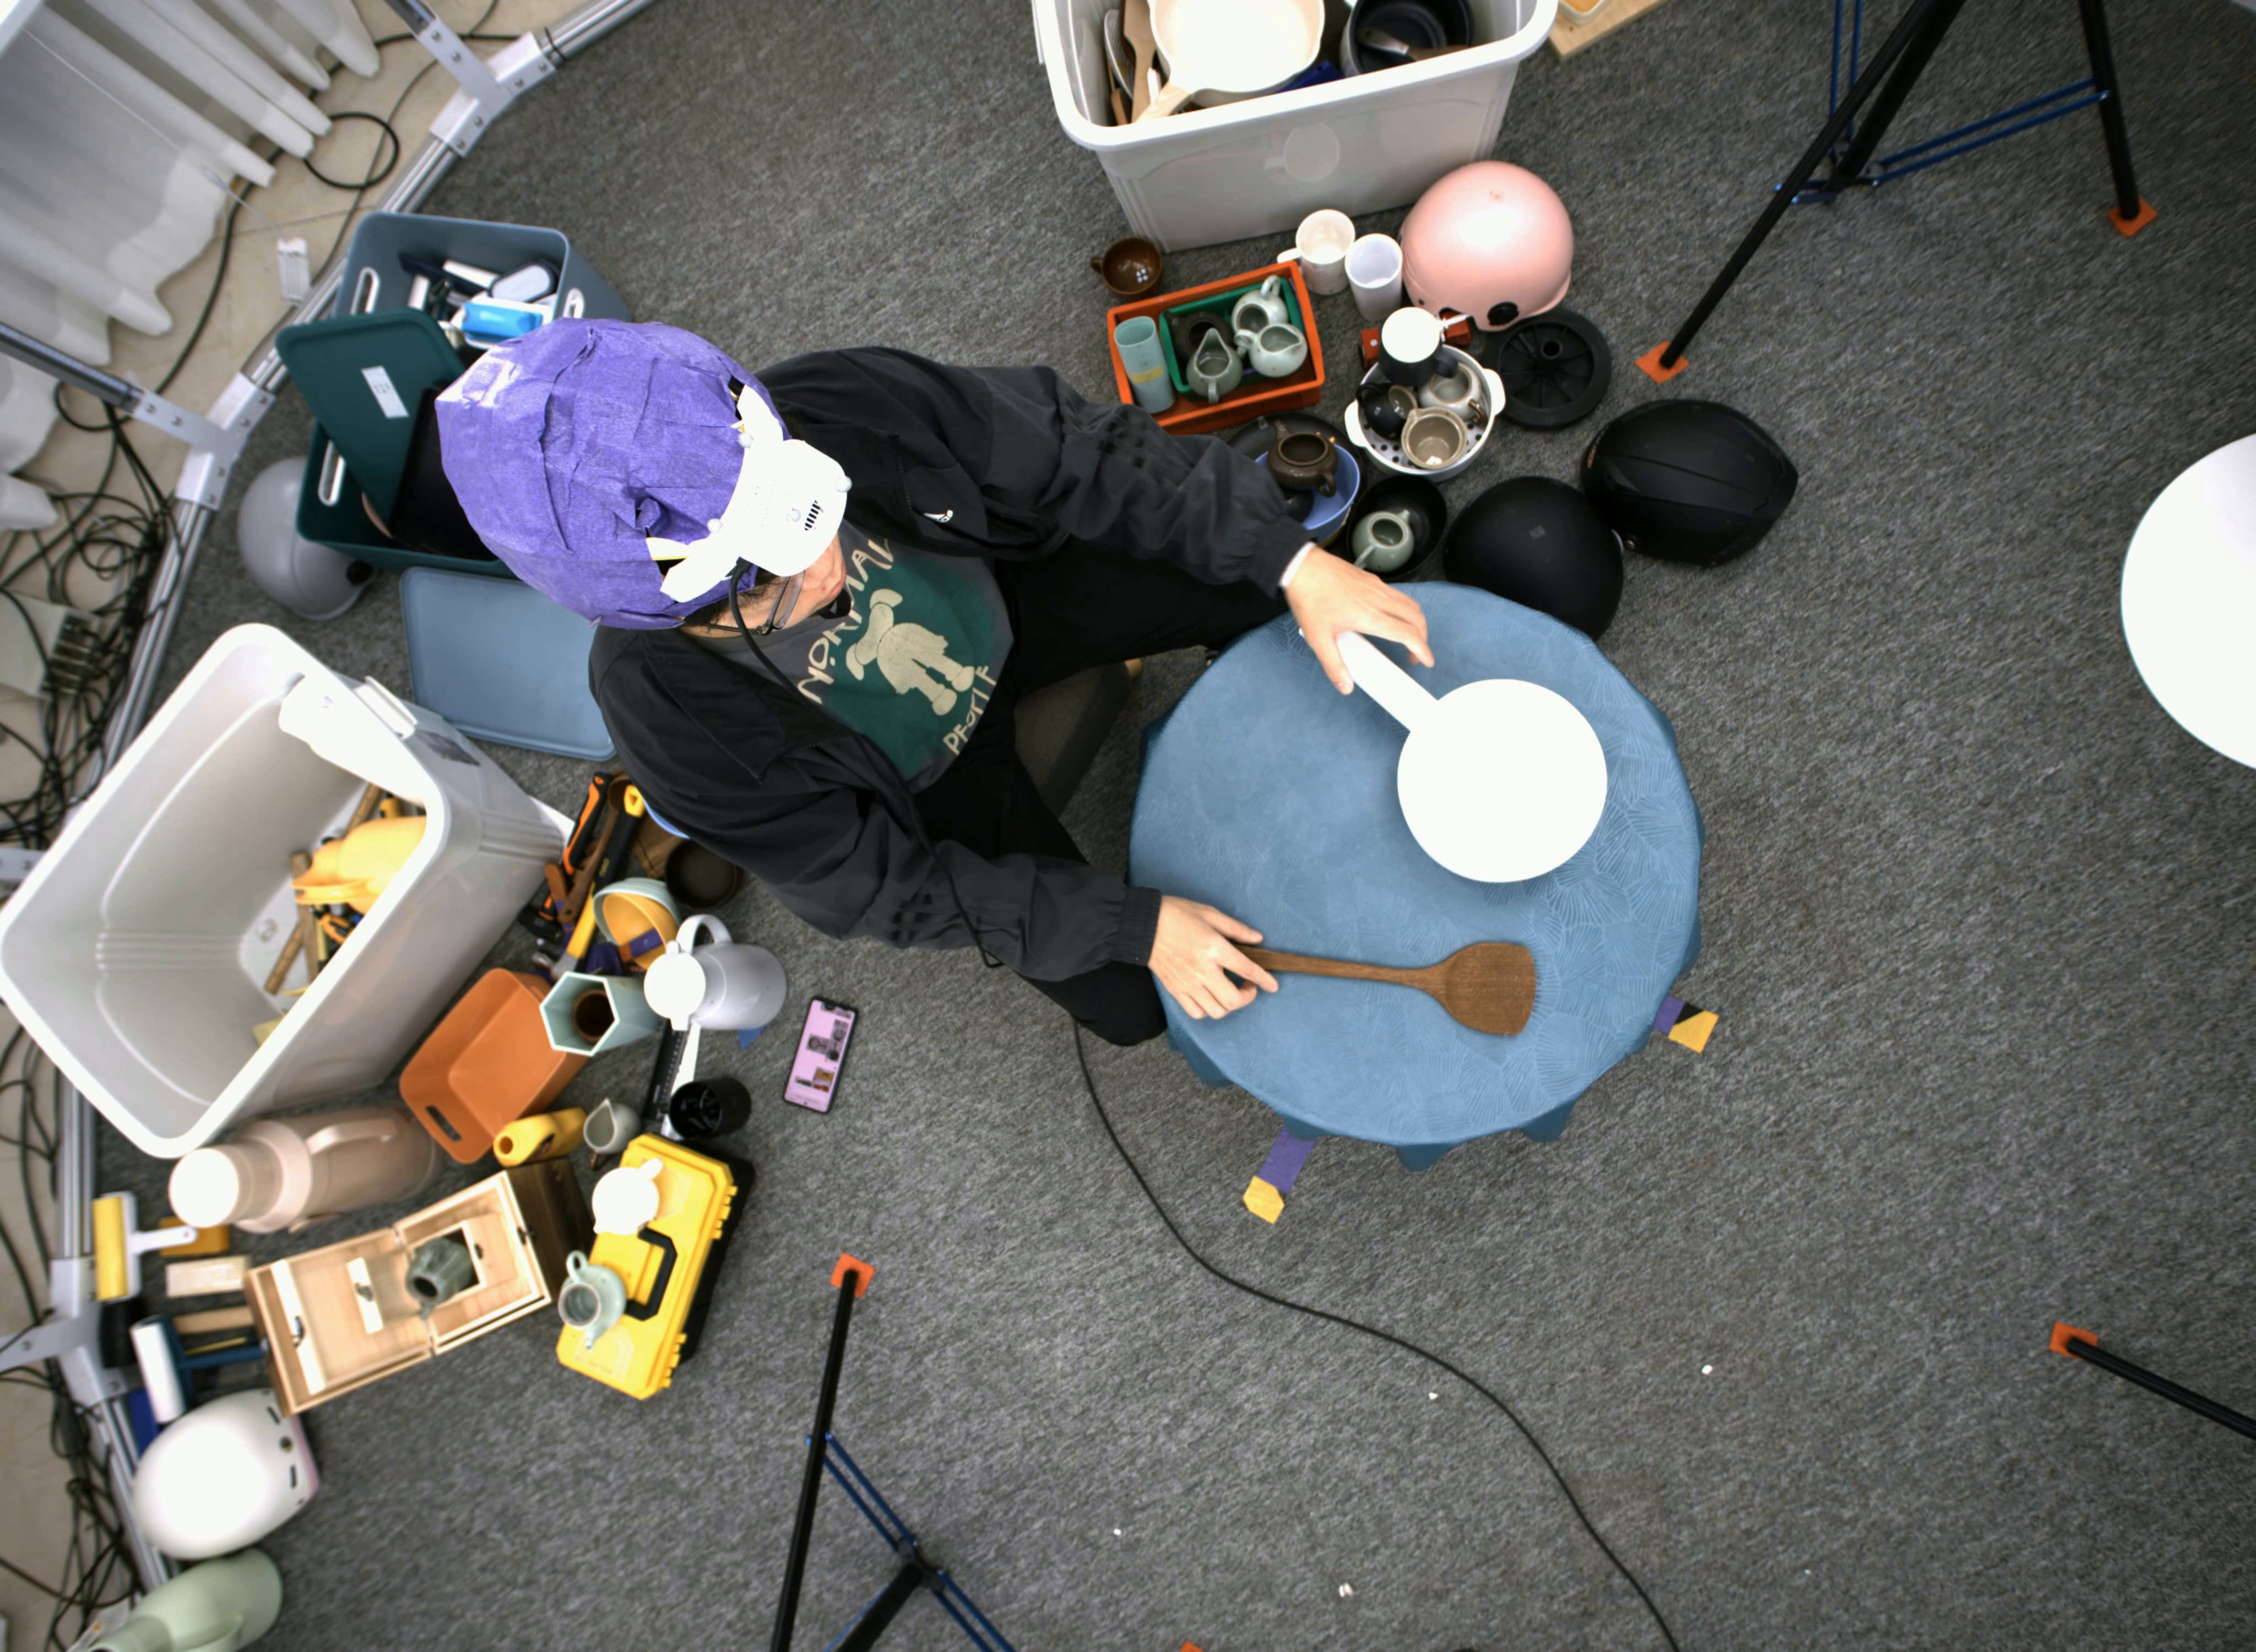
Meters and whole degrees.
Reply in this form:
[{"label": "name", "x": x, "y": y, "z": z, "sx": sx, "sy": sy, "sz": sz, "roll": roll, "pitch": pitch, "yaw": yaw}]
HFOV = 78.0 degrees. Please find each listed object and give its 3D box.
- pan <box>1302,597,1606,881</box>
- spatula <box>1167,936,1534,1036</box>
[{"label": "pan", "x": 0.320, "y": -0.096, "z": 1.407, "sx": 0.353, "sy": 0.102, "sz": 0.202, "roll": 44, "pitch": 95, "yaw": 11}, {"label": "spatula", "x": 0.229, "y": 0.150, "z": 1.454, "sx": 0.387, "sy": 0.016, "sz": 0.096, "roll": 6, "pitch": 88, "yaw": 11}]
